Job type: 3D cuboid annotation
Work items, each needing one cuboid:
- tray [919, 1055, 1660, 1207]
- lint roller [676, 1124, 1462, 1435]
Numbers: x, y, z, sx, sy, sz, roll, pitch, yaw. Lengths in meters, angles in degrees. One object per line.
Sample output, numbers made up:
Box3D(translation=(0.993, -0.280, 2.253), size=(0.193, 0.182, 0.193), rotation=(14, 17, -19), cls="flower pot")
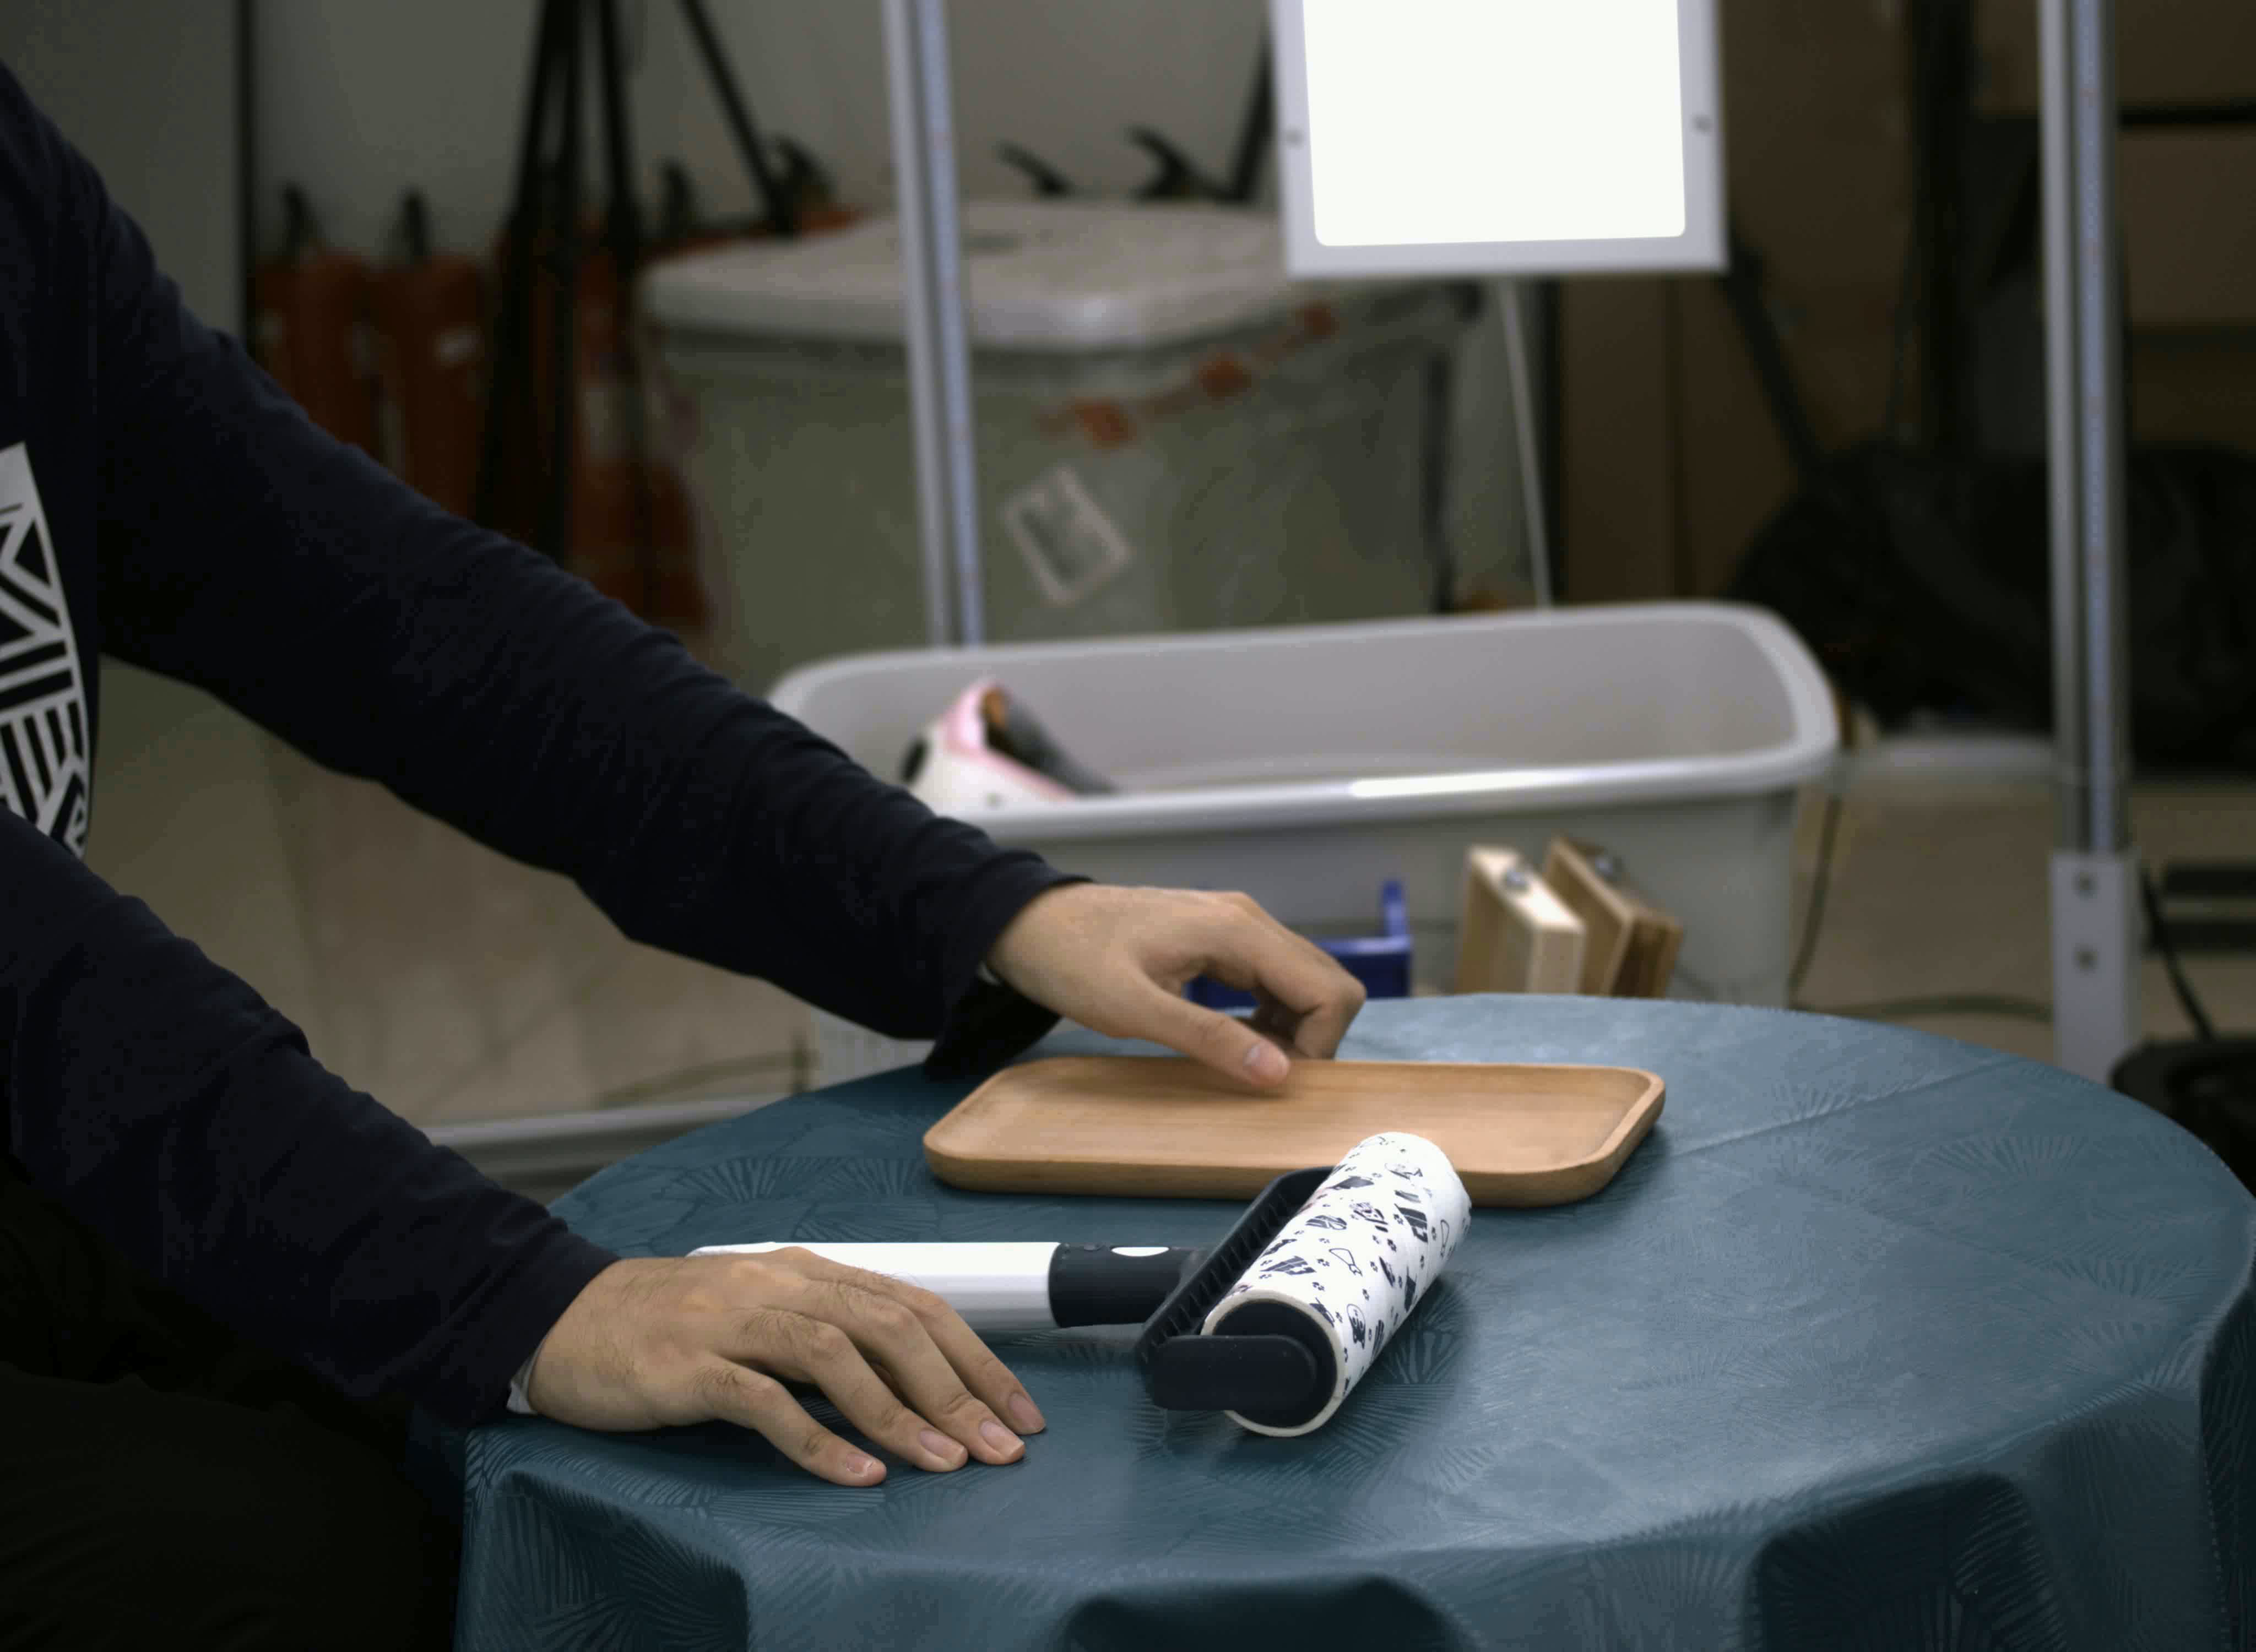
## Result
Box3D(translation=(0.057, 0.106, 1.932), size=(0.254, 0.023, 0.128), rotation=(-1, 11, 23), cls="tray")
Box3D(translation=(-0.030, 0.146, 1.752), size=(0.250, 0.050, 0.173), rotation=(-3, 14, 20), cls="lint roller")
